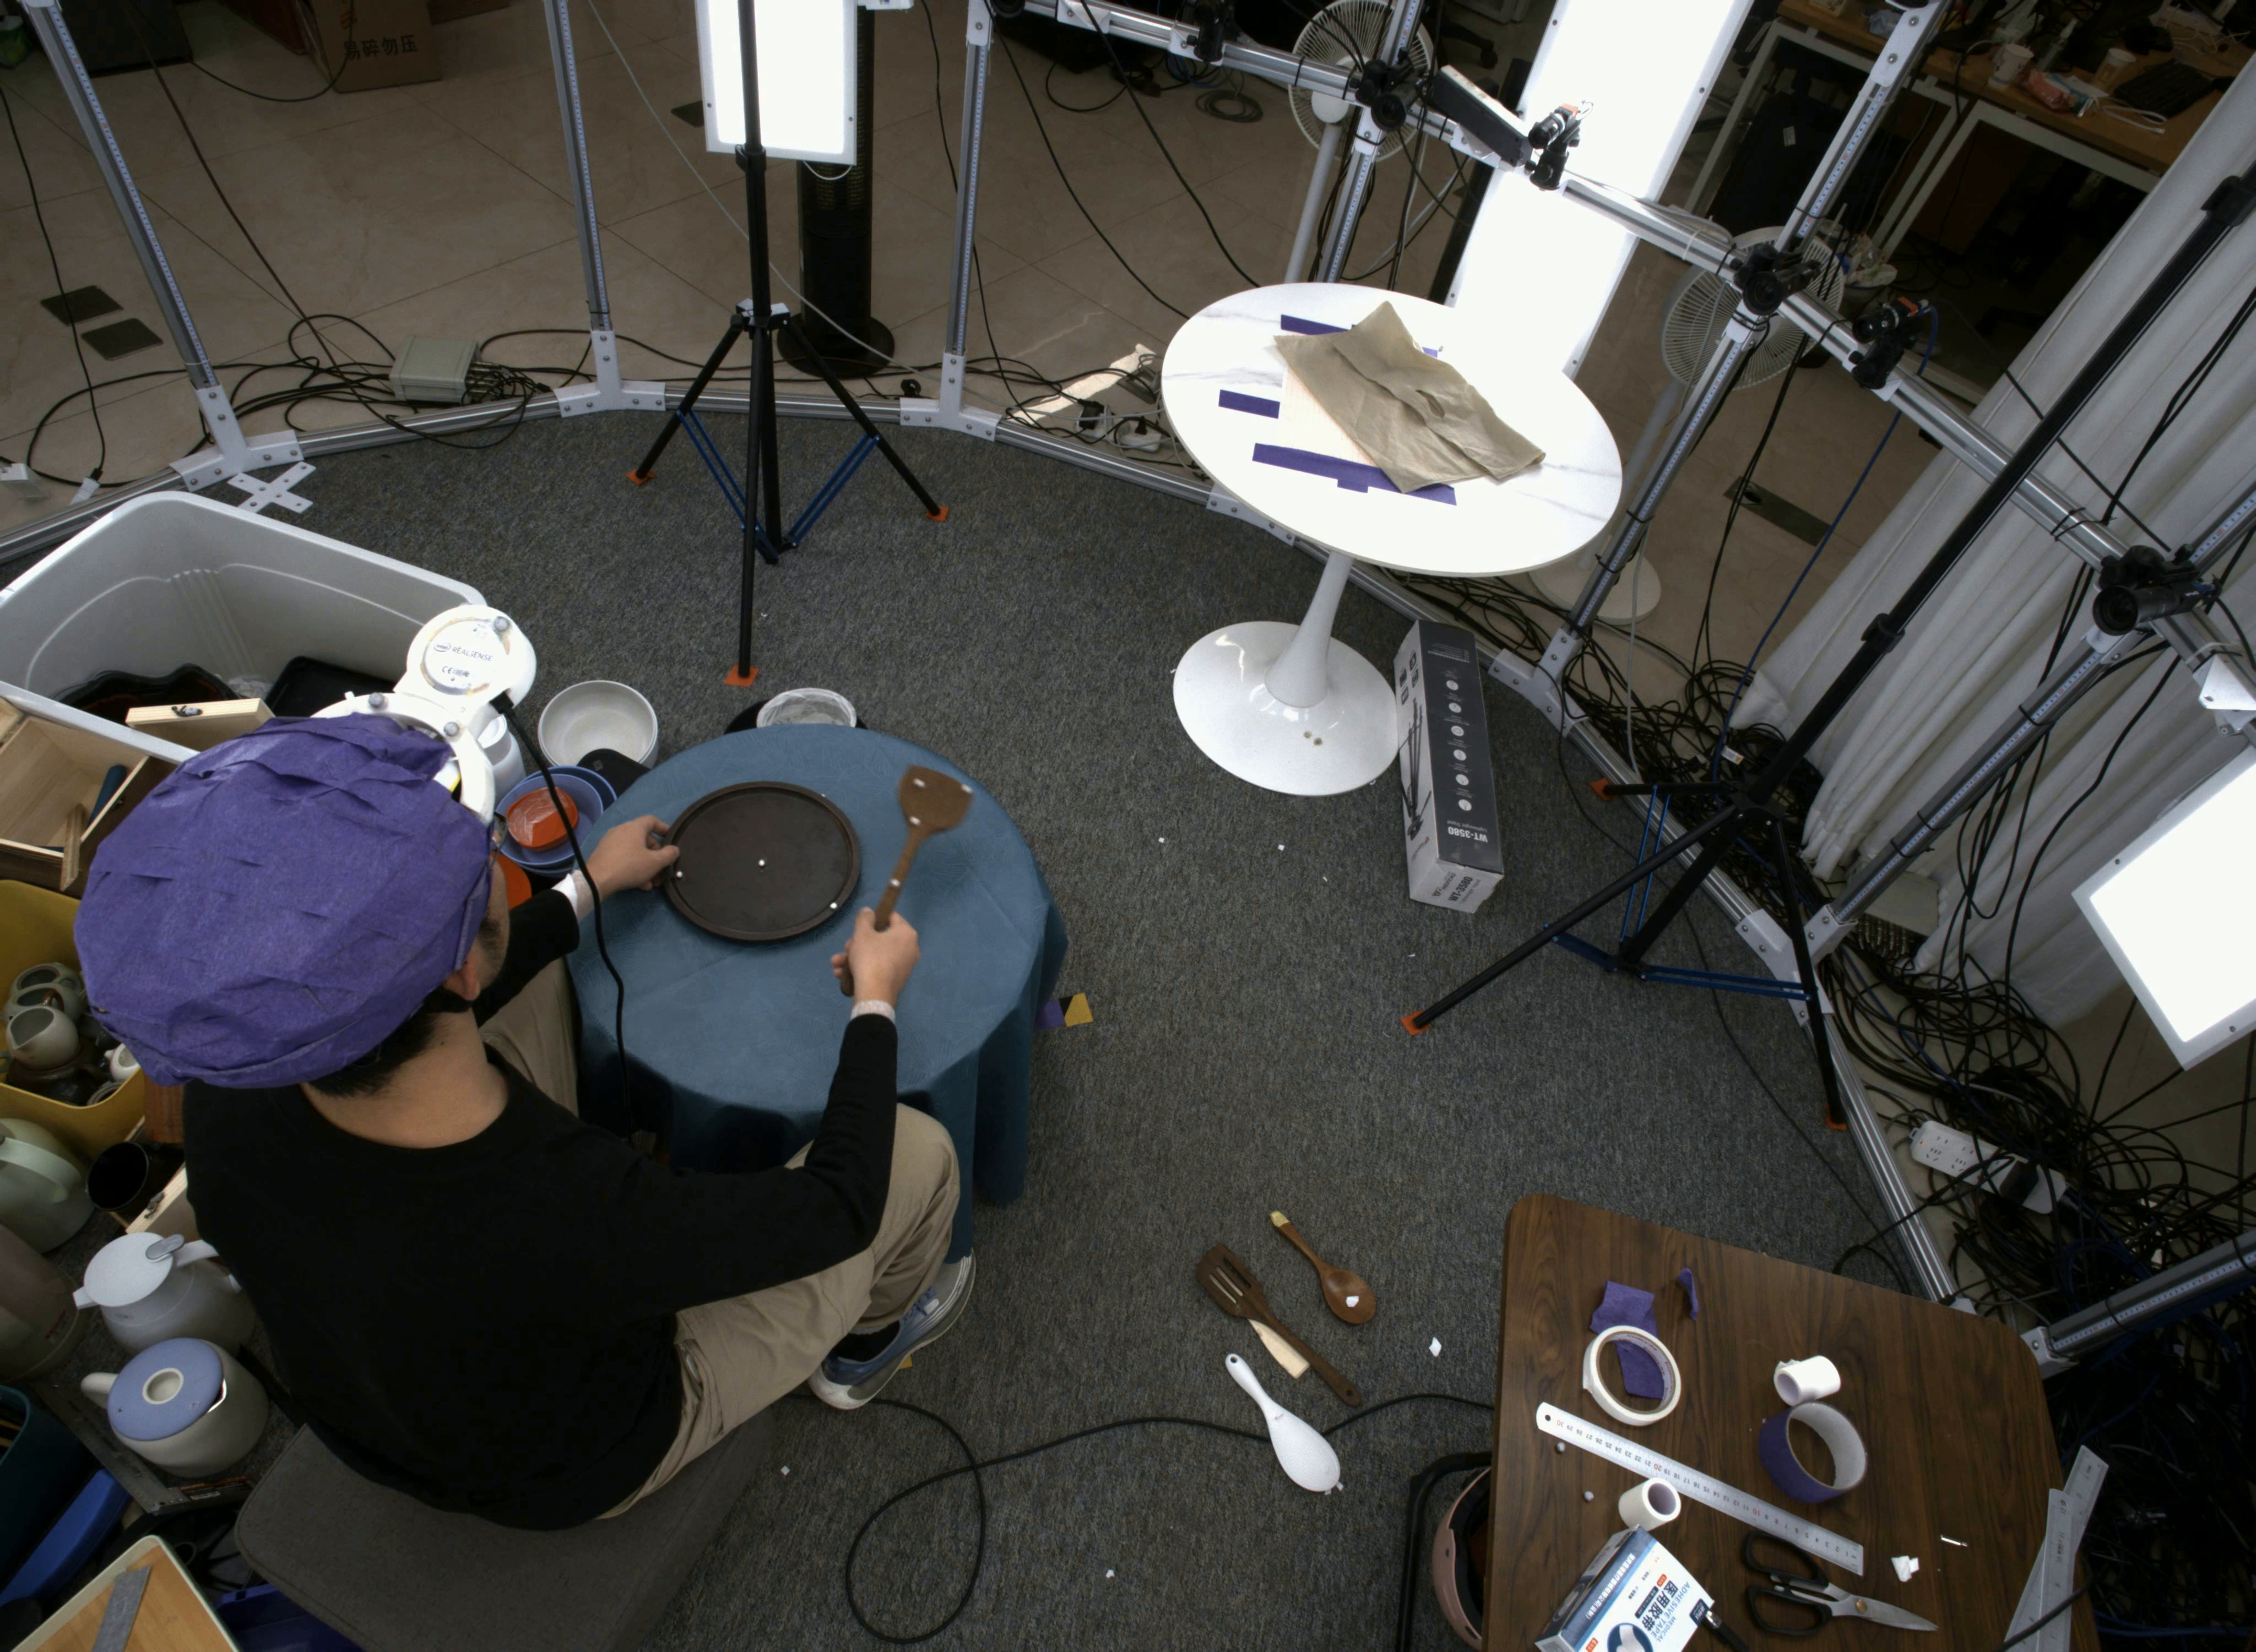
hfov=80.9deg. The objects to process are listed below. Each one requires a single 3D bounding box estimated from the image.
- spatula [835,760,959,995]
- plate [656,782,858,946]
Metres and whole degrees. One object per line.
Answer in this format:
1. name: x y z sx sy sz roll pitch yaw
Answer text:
1. spatula: -0.285 0.053 1.552 0.097 0.016 0.379 26 41 -13
2. plate: -0.474 0.045 1.657 0.254 0.029 0.250 9 53 -10
